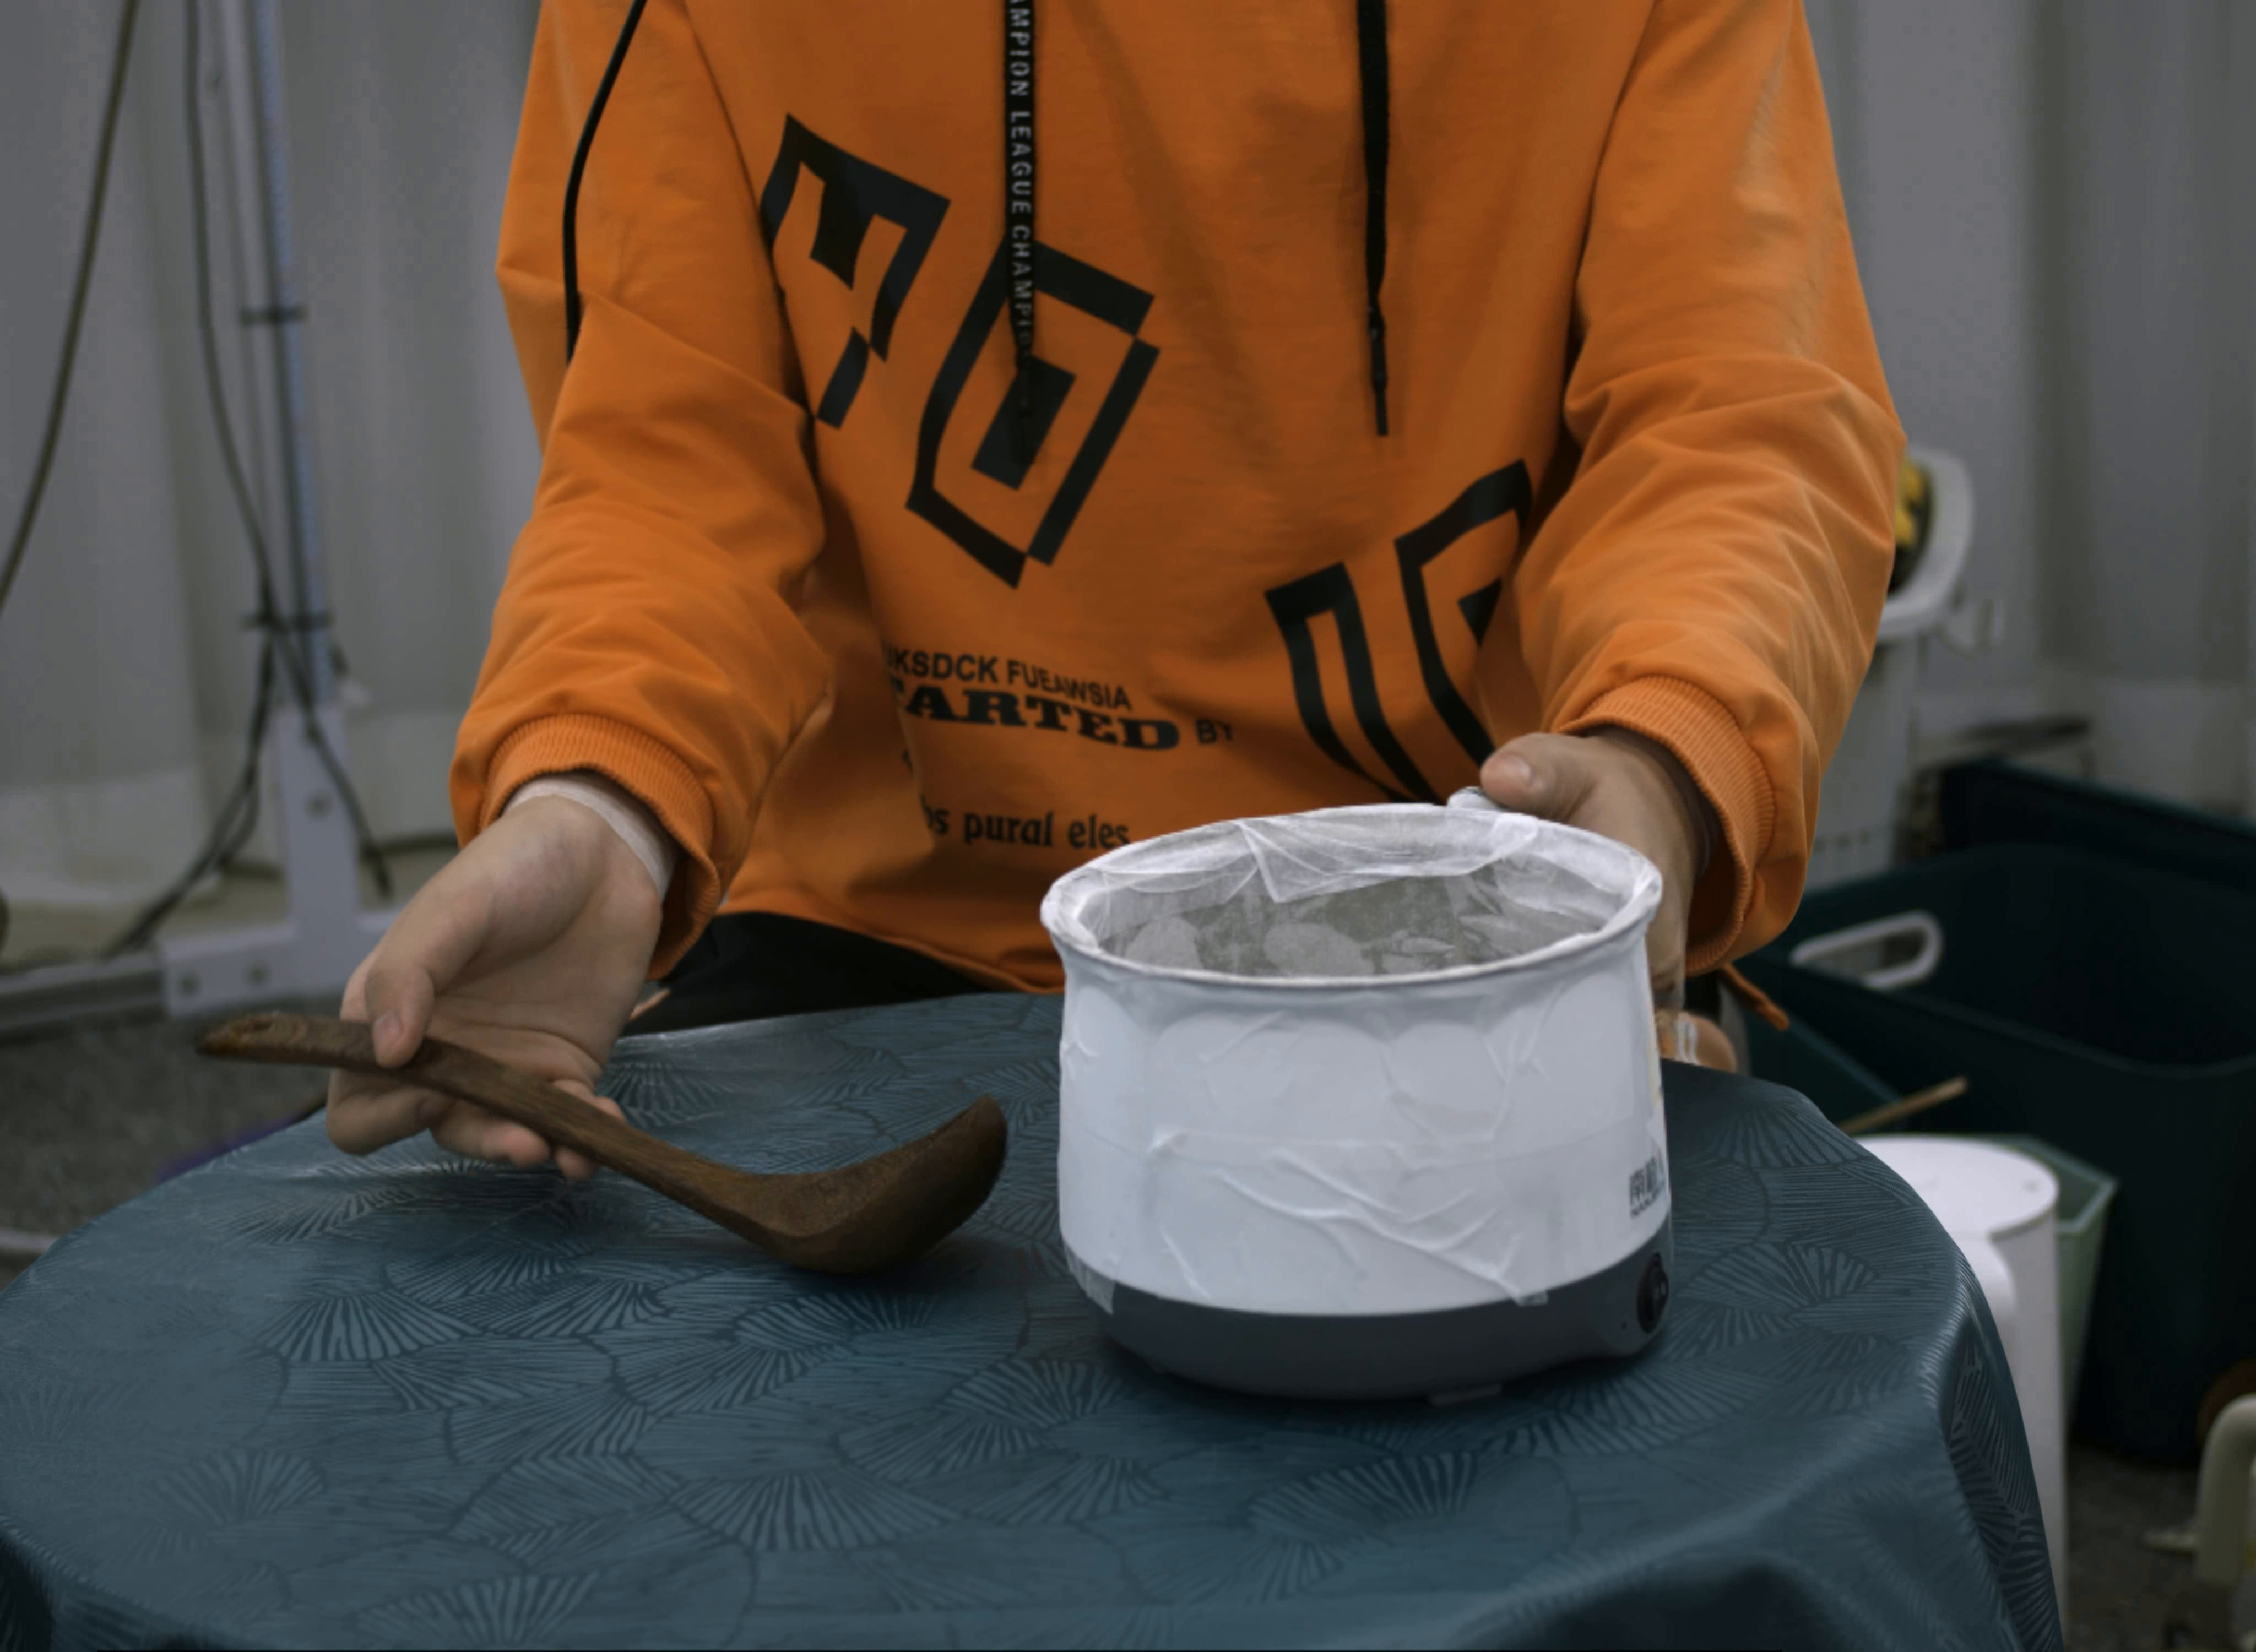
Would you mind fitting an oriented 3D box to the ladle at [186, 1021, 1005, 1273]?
[{"bbox_3d":[-0.167,0.078,1.687,0.275,0.071,0.076,17,22,20],"label":"ladle"}]

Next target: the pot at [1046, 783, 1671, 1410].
[{"bbox_3d":[0.077,0.072,1.595,0.179,0.136,0.234,4,17,22],"label":"pot"}]
